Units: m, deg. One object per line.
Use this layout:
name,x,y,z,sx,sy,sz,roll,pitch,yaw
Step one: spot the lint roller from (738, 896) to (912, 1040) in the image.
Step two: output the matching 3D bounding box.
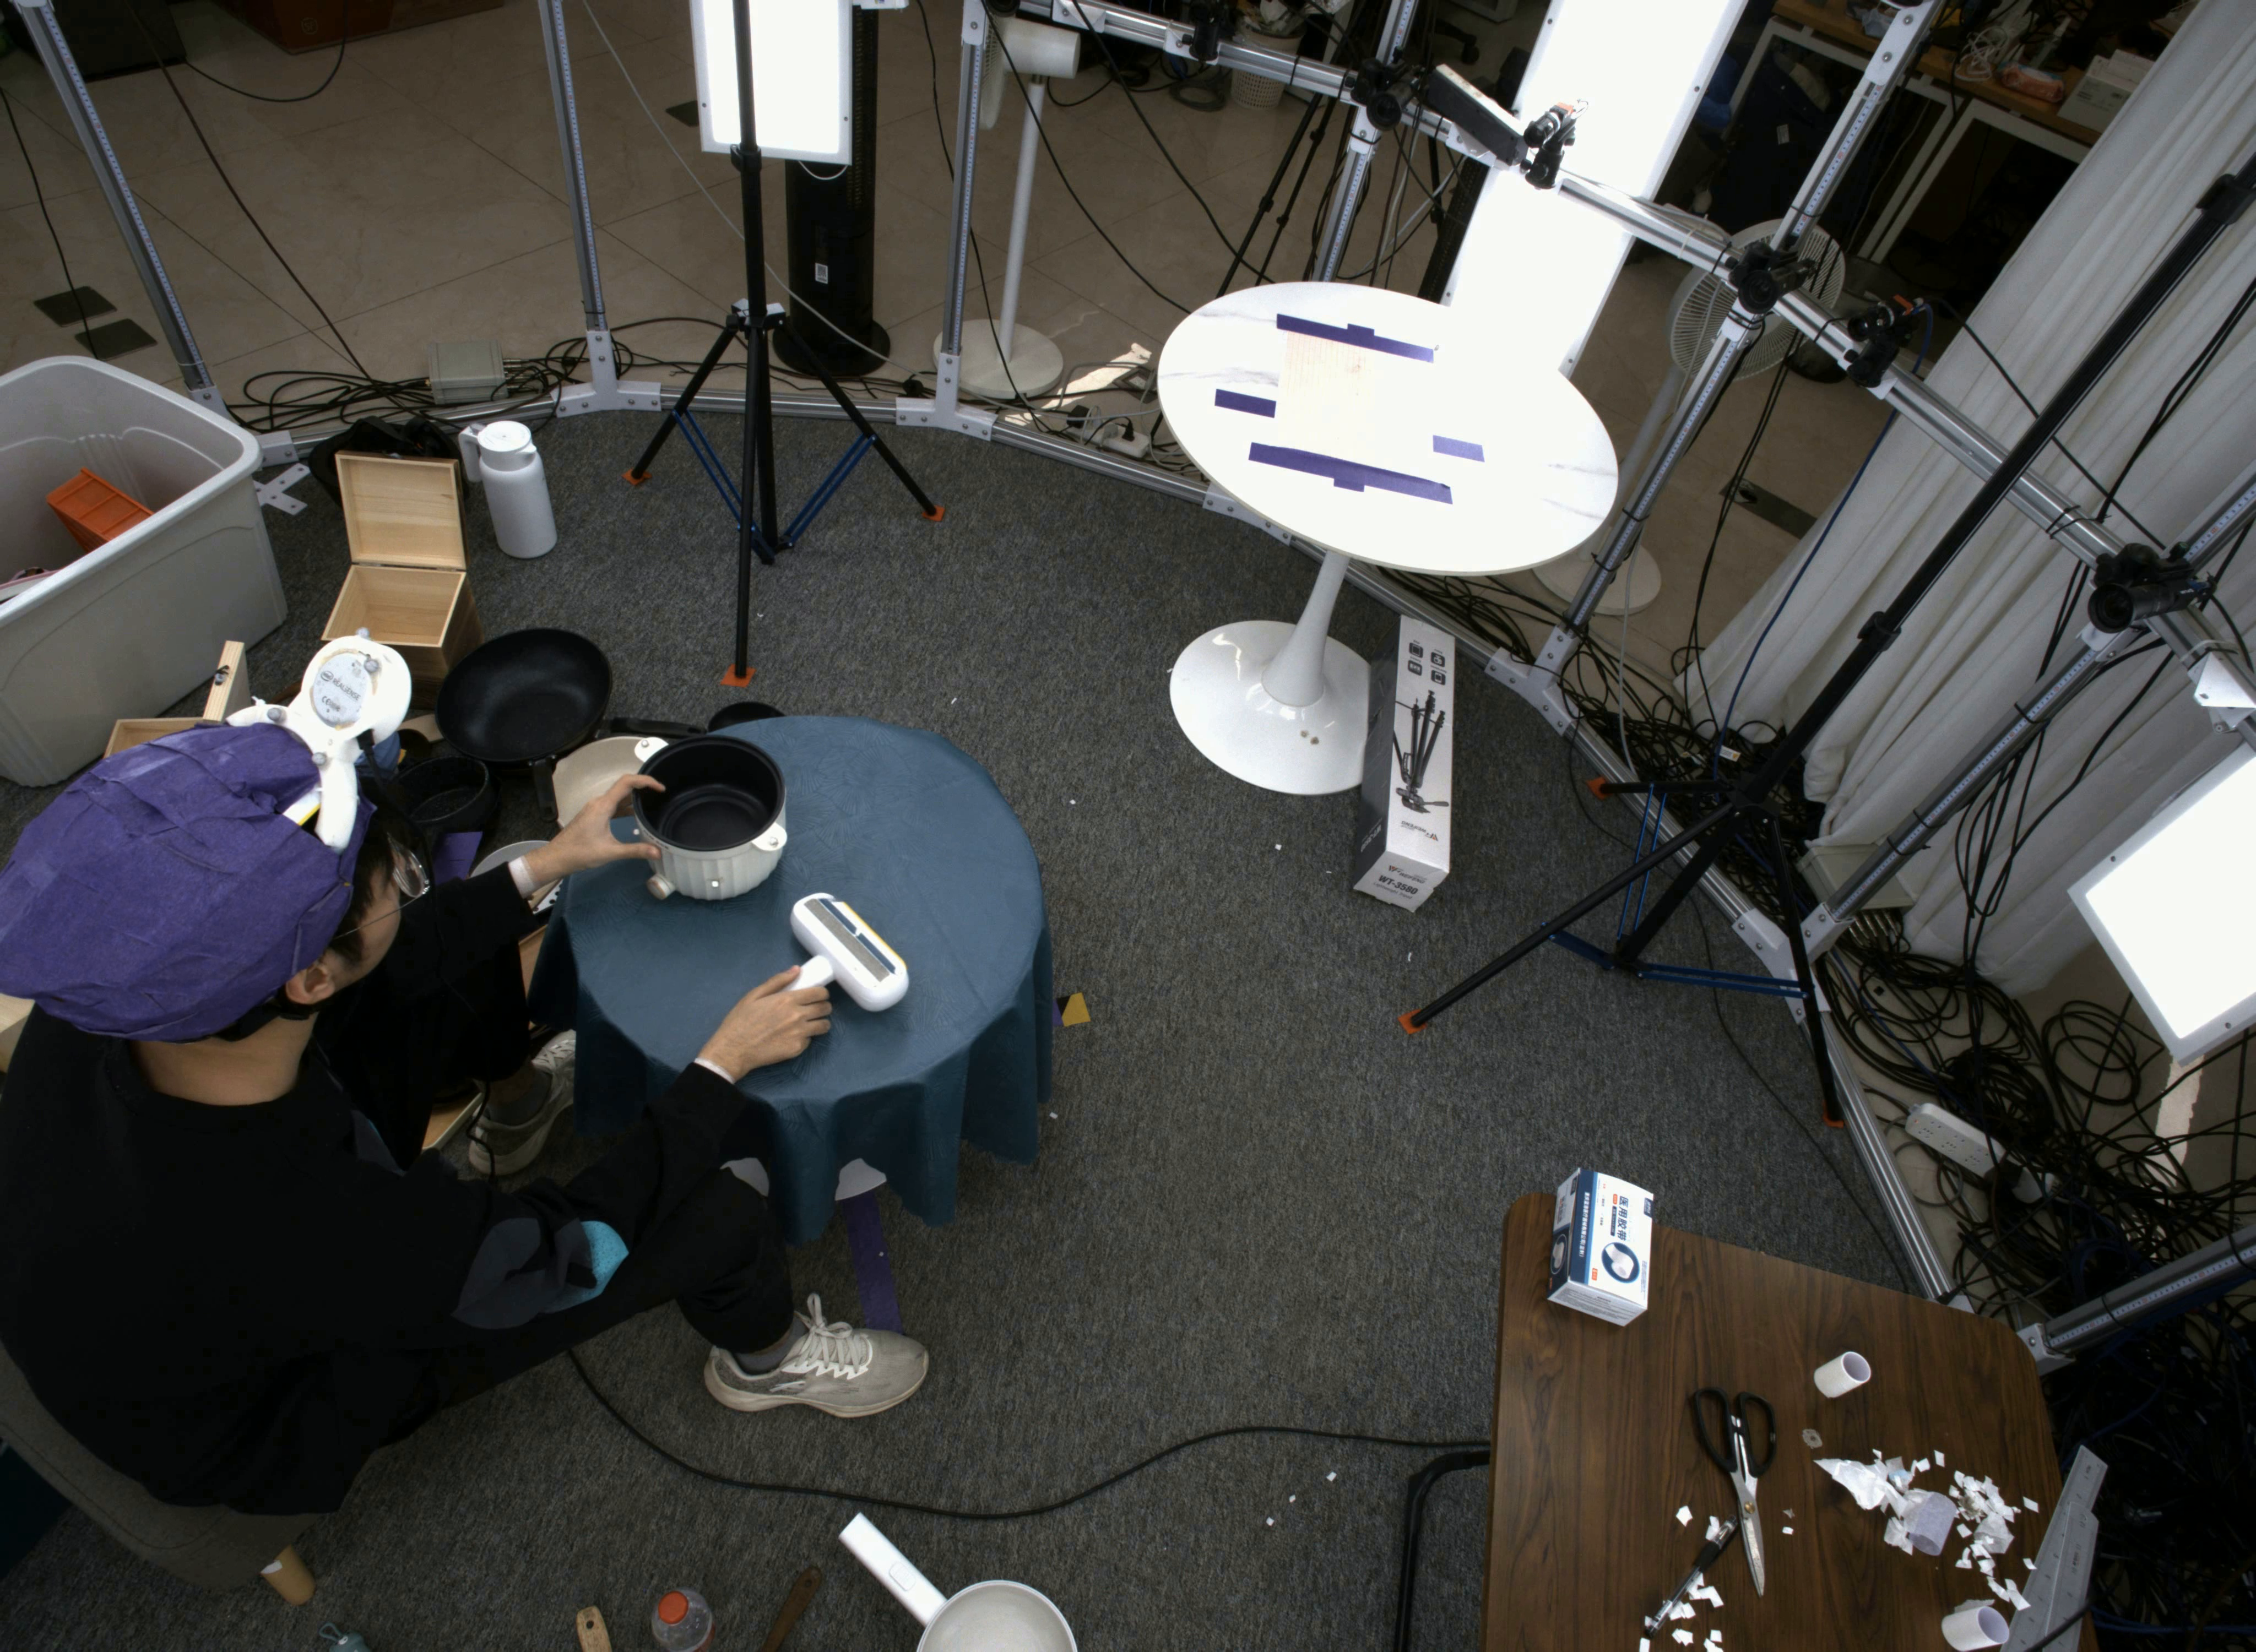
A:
lint roller,-0.382,0.185,1.560,0.193,0.076,0.187,-29,58,-29

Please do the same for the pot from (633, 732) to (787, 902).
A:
pot,-0.523,-0.001,1.614,0.236,0.145,0.190,32,50,13
